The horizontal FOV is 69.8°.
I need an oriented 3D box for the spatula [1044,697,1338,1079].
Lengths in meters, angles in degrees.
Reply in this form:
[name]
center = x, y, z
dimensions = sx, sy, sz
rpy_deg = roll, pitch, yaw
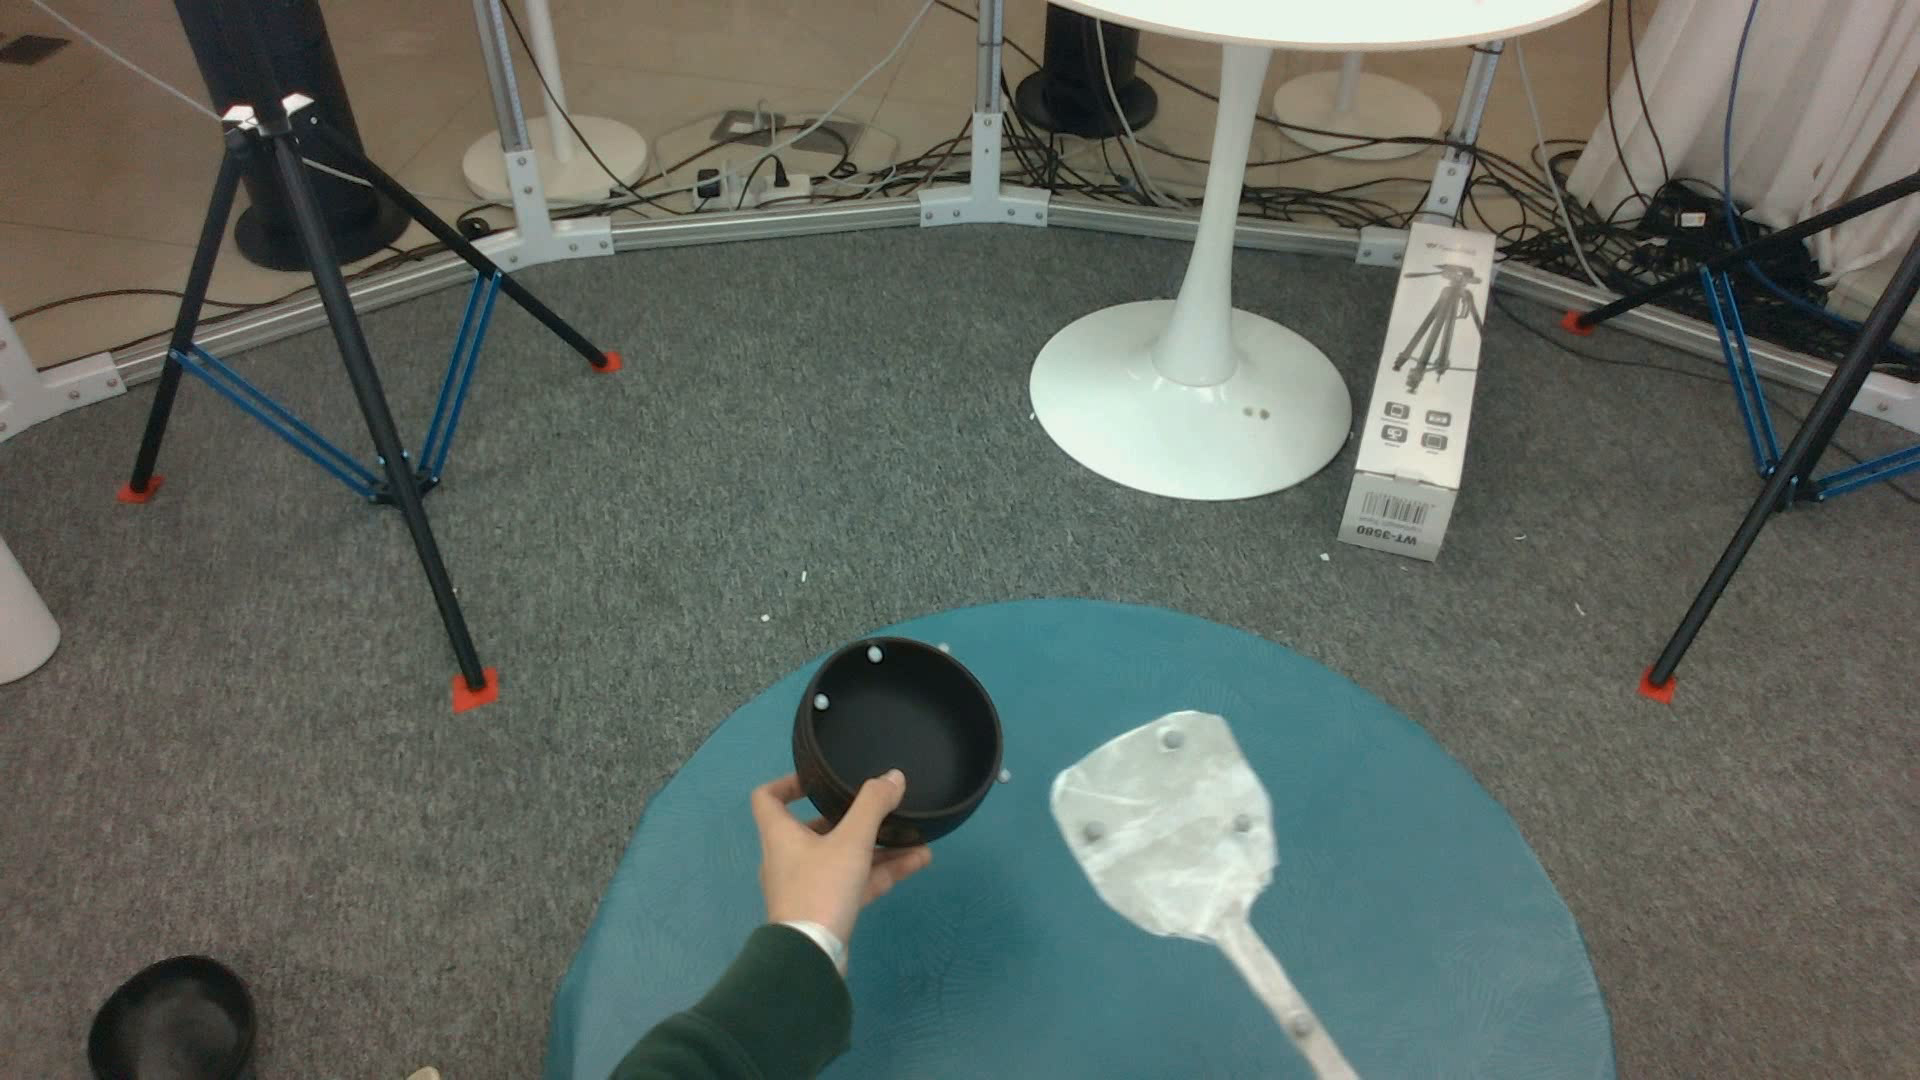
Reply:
[spatula]
center = 0.153, 0.215, 0.579
dimensions = 0.099, 0.044, 0.366
rpy_deg = -22, 47, -13

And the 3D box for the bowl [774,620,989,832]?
[bowl]
center = -0.049, 0.112, 0.780
dimensions = 0.118, 0.069, 0.118
rpy_deg = 12, 50, -14
